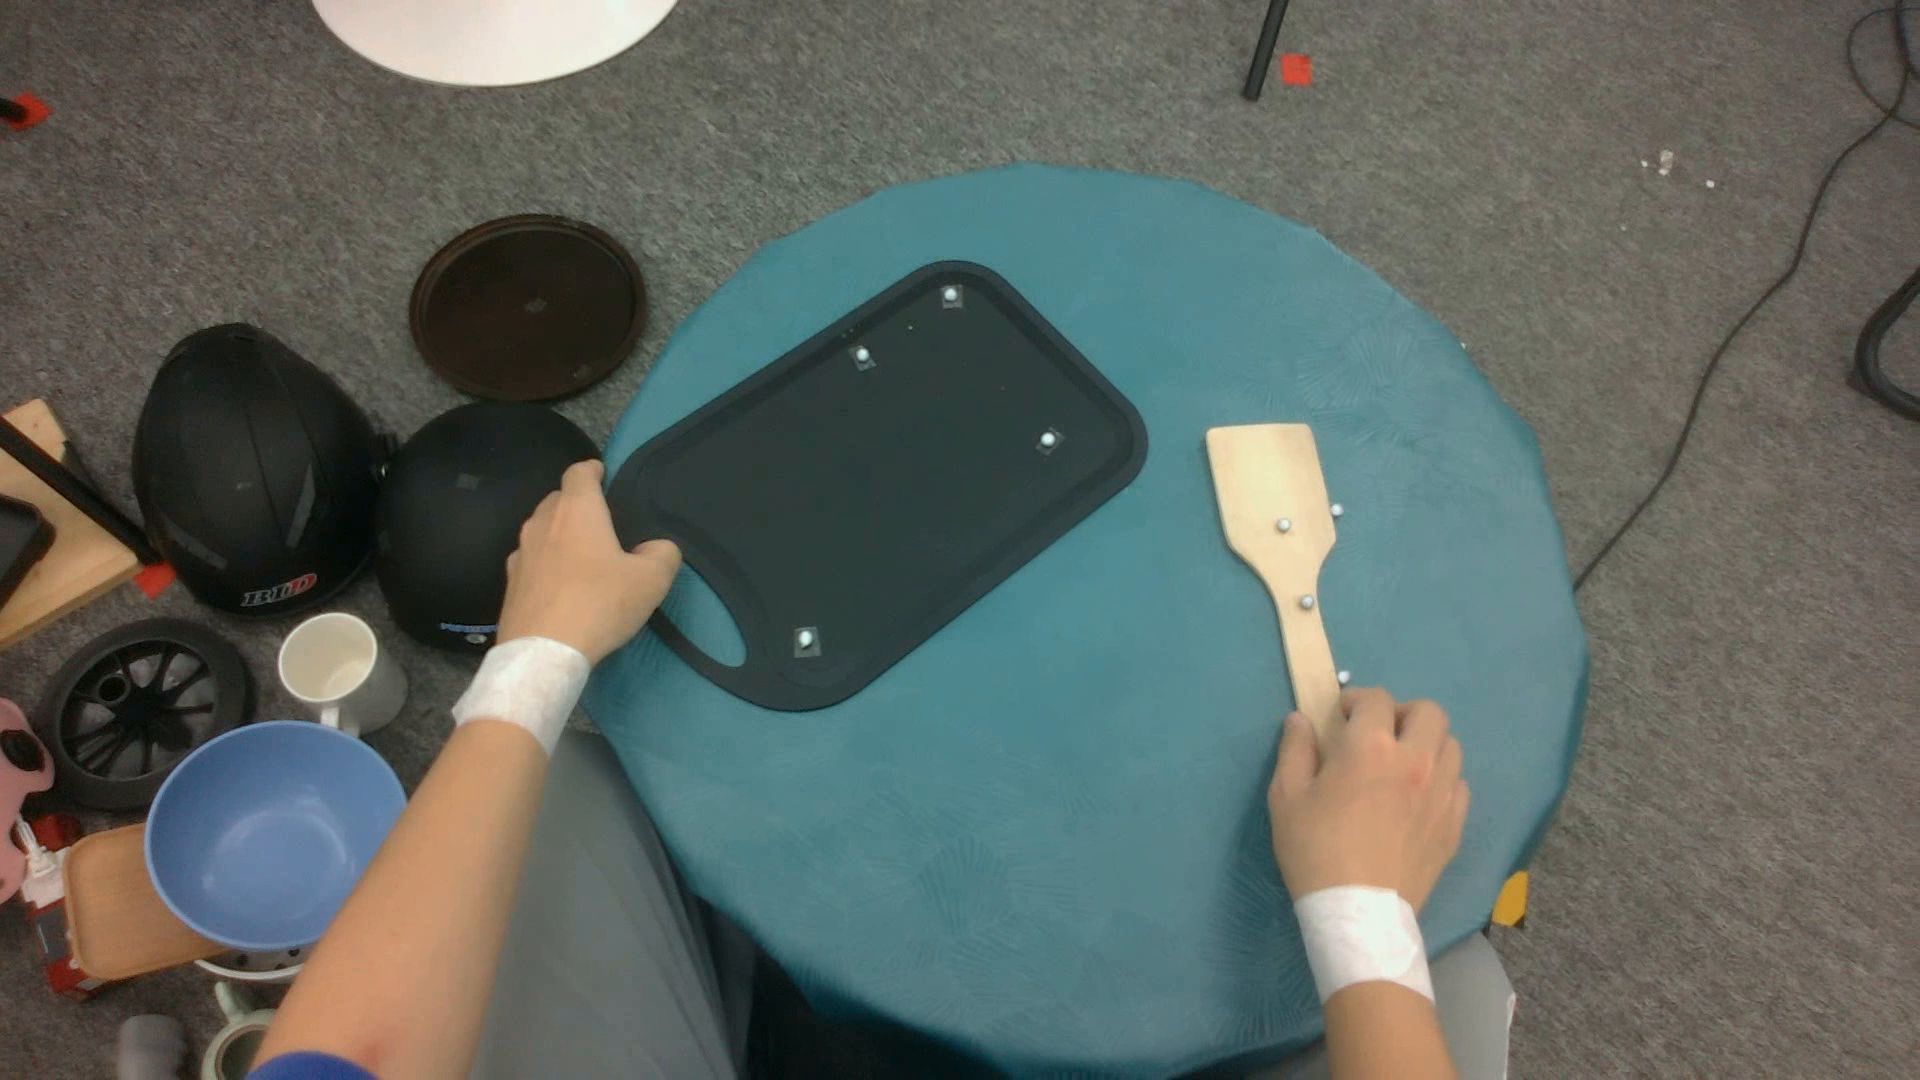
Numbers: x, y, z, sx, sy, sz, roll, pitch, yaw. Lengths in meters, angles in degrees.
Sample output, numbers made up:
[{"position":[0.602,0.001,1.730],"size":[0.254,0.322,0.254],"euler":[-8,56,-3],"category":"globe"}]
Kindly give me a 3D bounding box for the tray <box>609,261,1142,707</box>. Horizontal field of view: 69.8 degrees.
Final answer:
[{"position":[-0.054,-0.043,0.857],"size":[0.326,0.010,0.211],"euler":[-37,71,-20],"category":"tray"}]

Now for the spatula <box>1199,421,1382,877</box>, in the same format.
[{"position":[0.205,0.056,0.824],"size":[0.072,0.010,0.294],"euler":[-4,63,-8],"category":"spatula"}]
